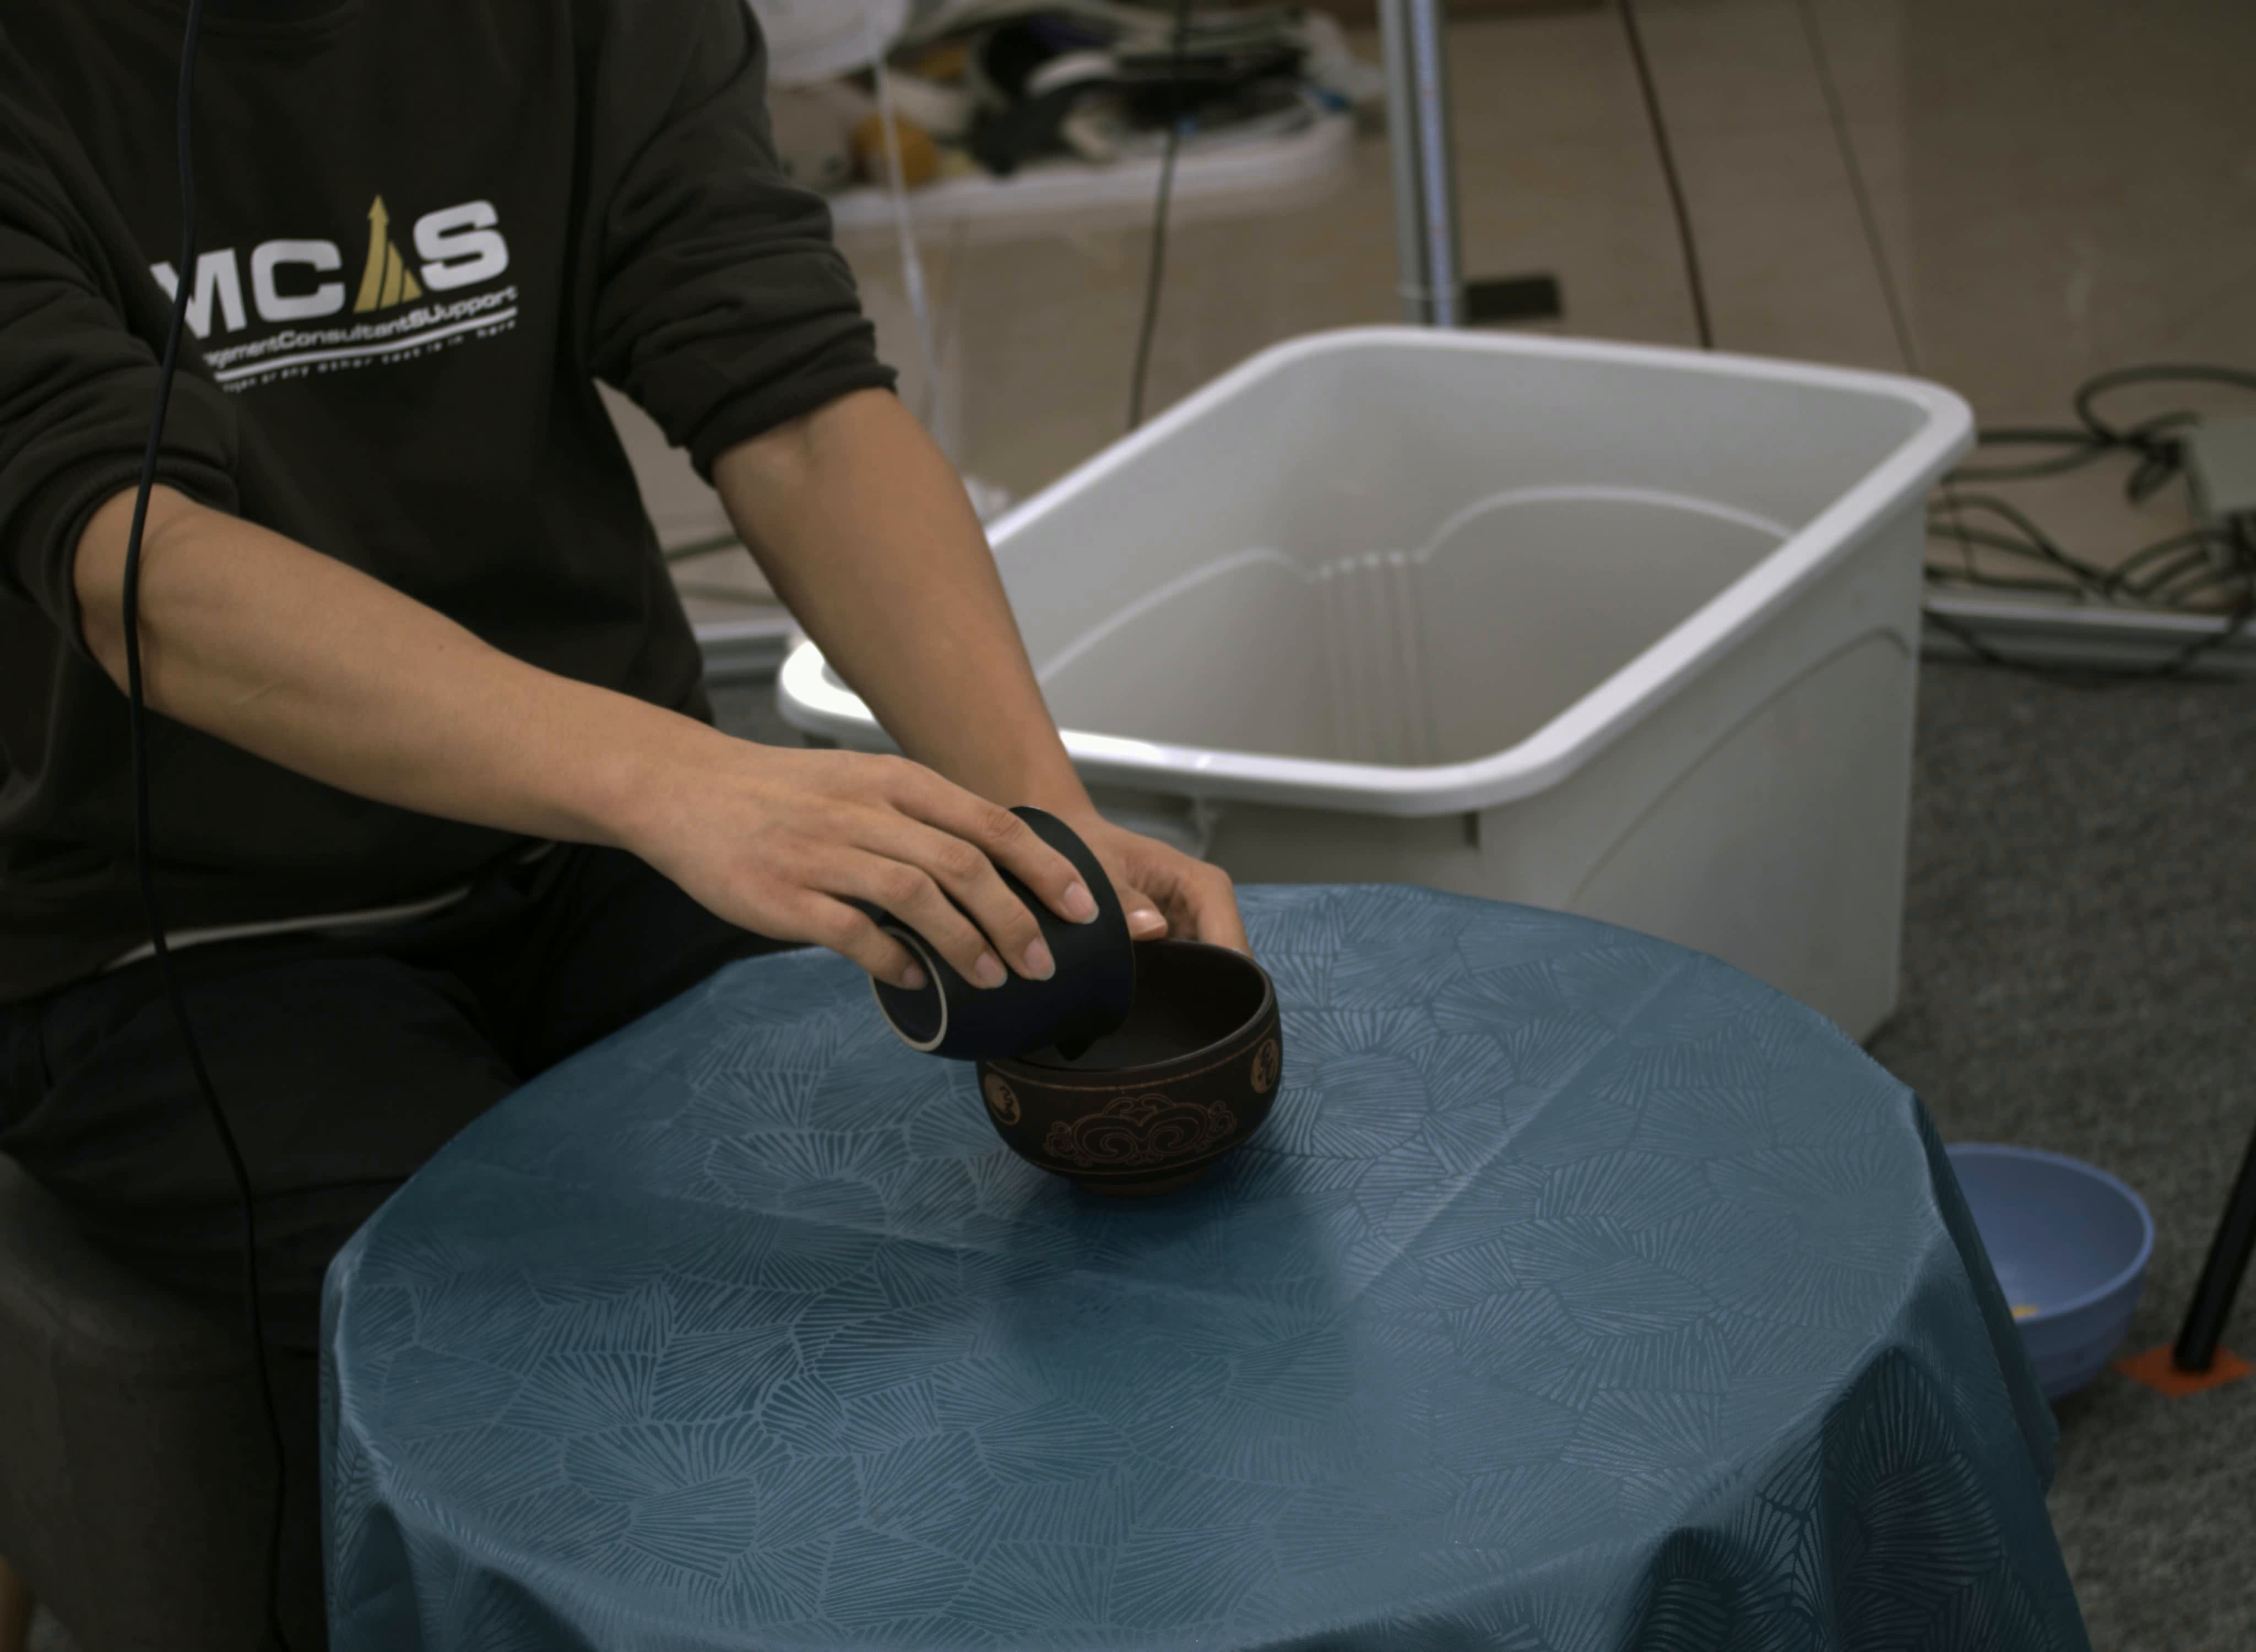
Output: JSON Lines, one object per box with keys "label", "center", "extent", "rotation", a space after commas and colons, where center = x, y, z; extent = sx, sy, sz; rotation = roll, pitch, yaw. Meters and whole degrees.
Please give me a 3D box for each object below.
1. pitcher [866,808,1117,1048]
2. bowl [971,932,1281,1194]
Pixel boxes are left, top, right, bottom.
{"label": "pitcher", "center": [-0.053, 0.047, 2.090], "extent": [0.071, 0.097, 0.083], "rotation": [-23, 19, -36]}
{"label": "bowl", "center": [0.001, 0.096, 2.153], "extent": [0.118, 0.071, 0.116], "rotation": [-5, 27, 3]}
